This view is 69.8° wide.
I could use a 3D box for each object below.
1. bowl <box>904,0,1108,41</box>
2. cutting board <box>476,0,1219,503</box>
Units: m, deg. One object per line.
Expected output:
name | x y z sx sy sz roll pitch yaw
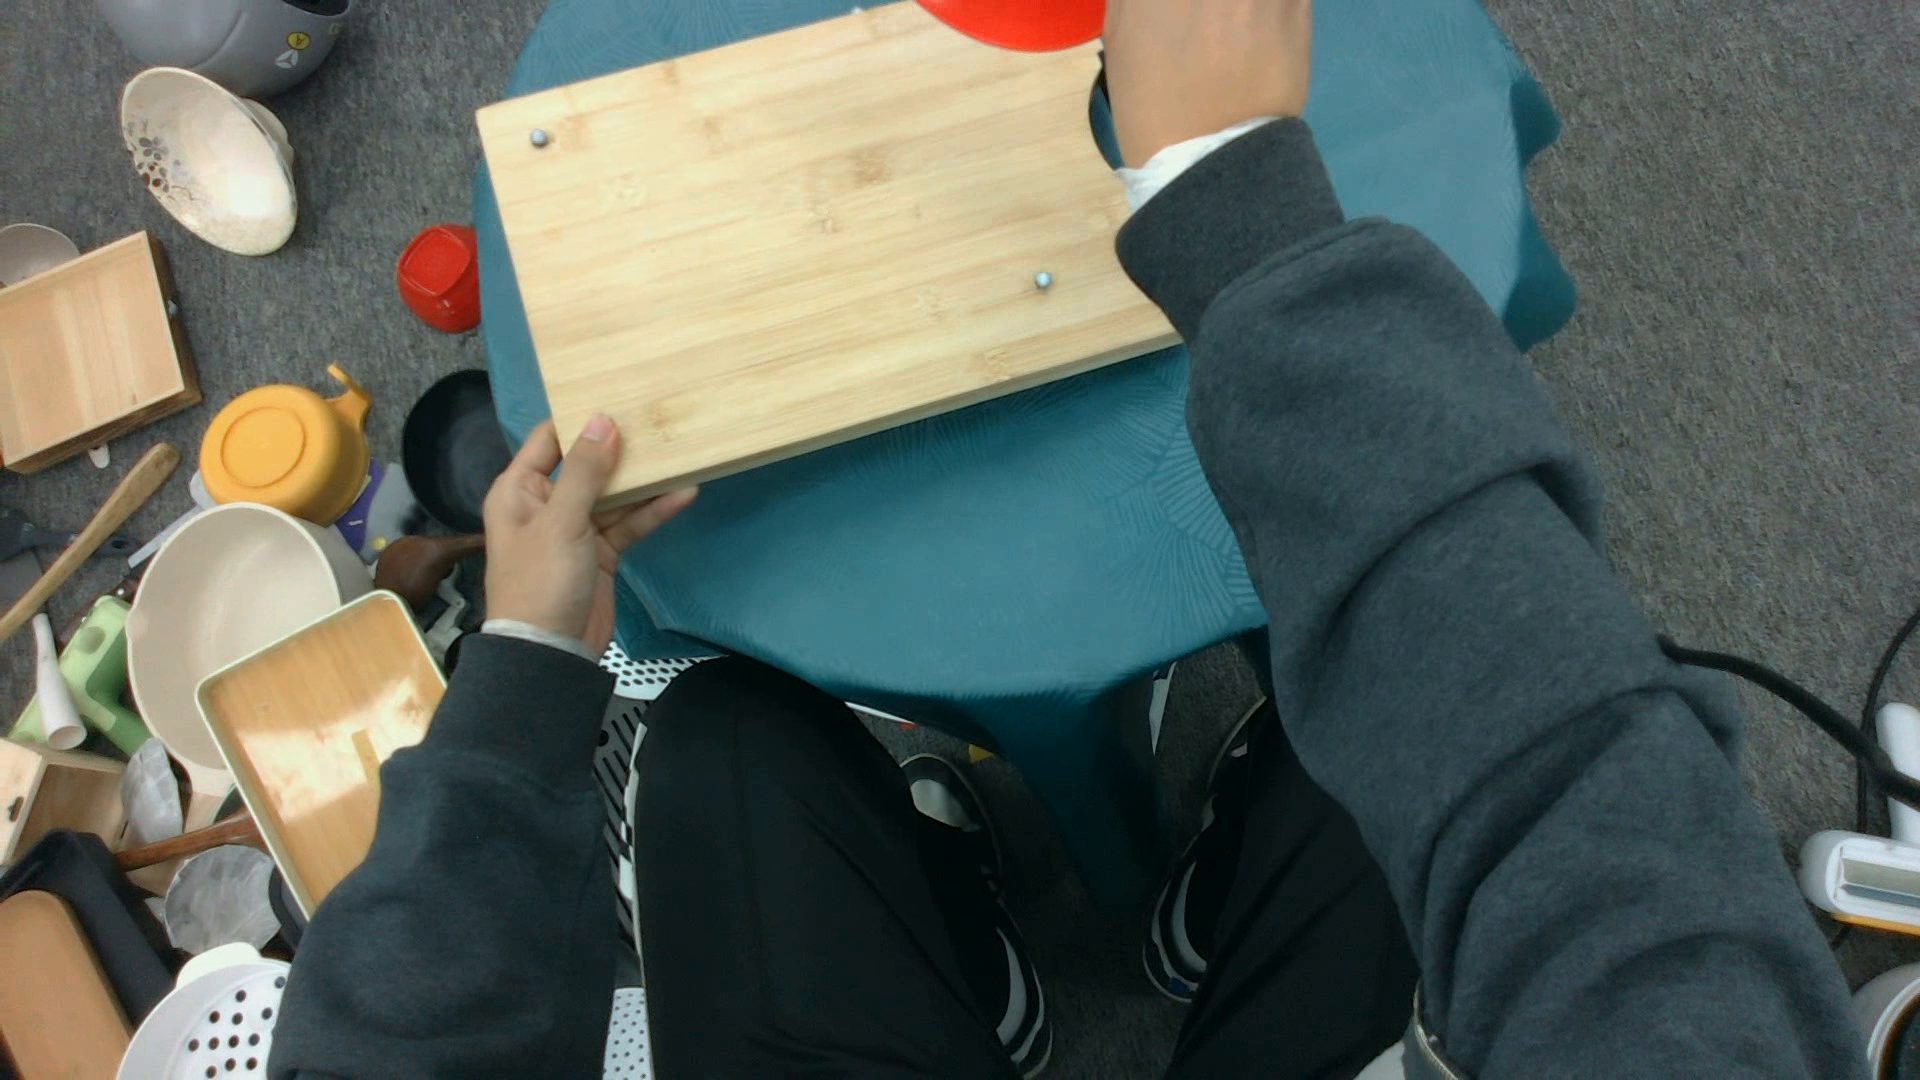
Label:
bowl | 0.027 -0.294 0.567 0.148 0.147 0.105 33 63 13
cutting board | -0.067 -0.178 0.737 0.349 0.023 0.251 -18 72 -7
